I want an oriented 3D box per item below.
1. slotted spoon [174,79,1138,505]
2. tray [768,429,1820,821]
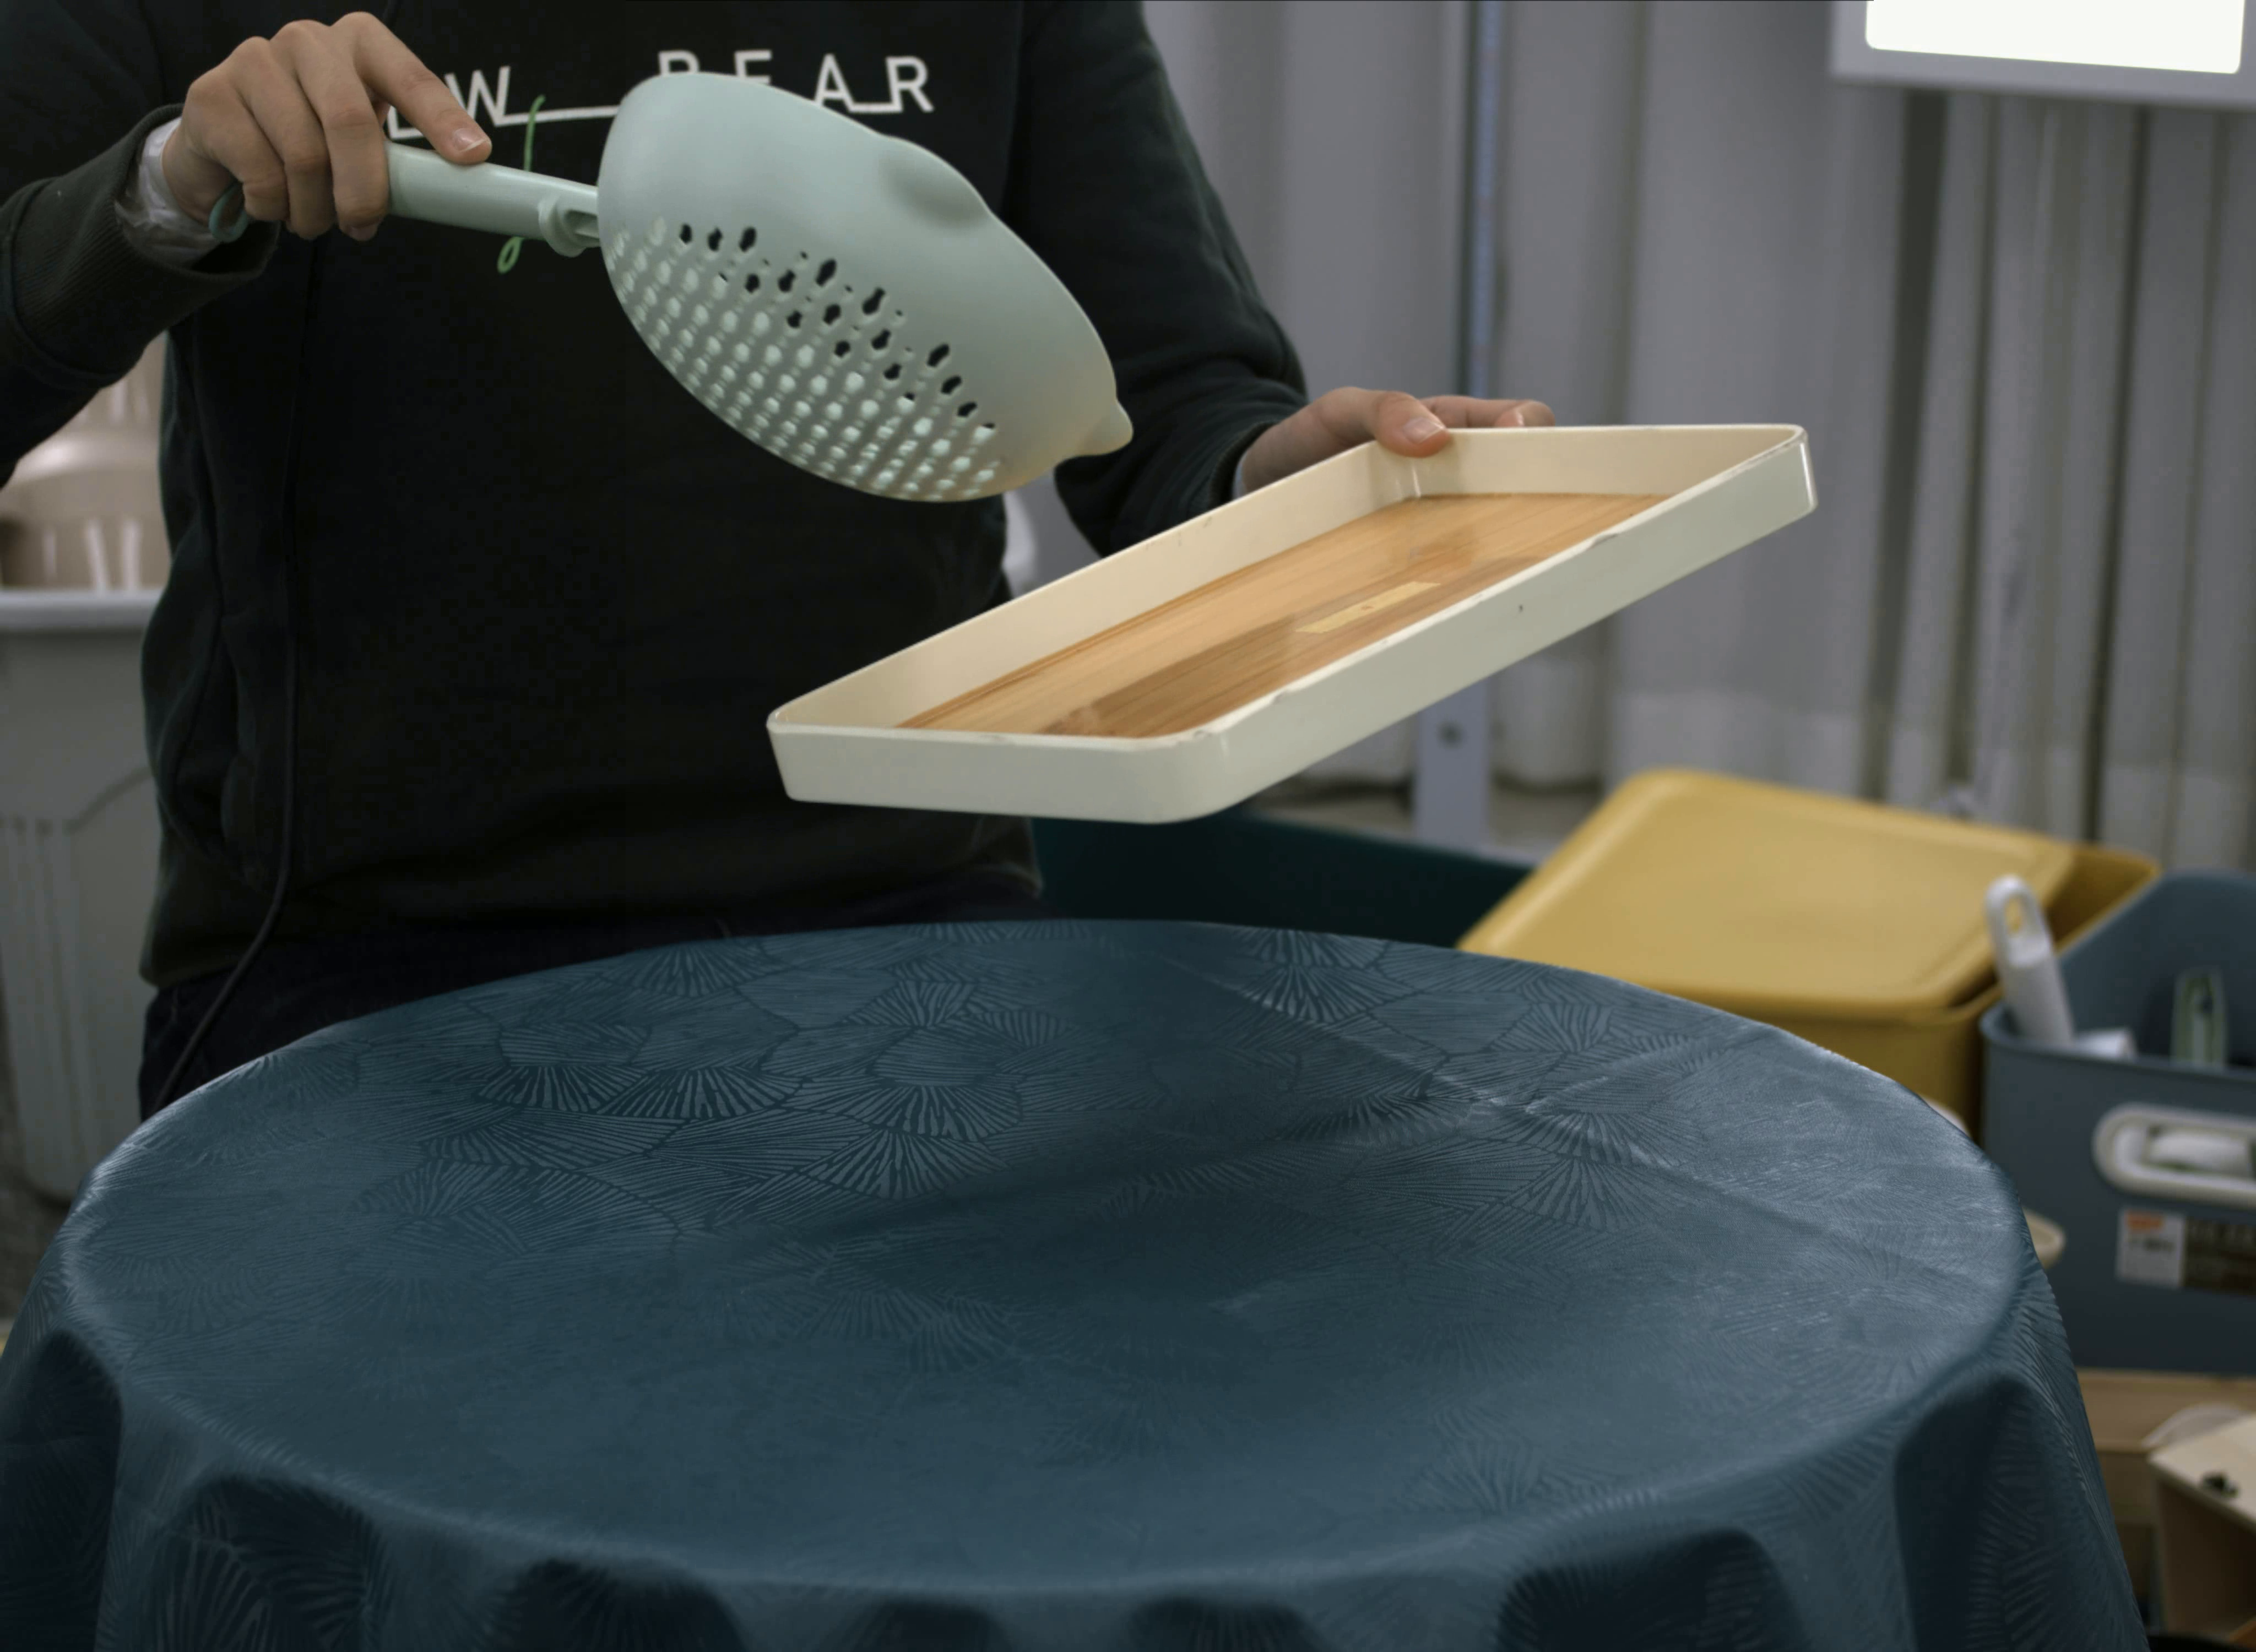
[{"bbox_3d":[-0.158,-0.176,1.590,0.354,0.172,0.075,26,71,37],"label":"slotted spoon"},{"bbox_3d":[0.054,-0.066,1.617,0.301,0.027,0.189,-26,20,-40],"label":"tray"}]
